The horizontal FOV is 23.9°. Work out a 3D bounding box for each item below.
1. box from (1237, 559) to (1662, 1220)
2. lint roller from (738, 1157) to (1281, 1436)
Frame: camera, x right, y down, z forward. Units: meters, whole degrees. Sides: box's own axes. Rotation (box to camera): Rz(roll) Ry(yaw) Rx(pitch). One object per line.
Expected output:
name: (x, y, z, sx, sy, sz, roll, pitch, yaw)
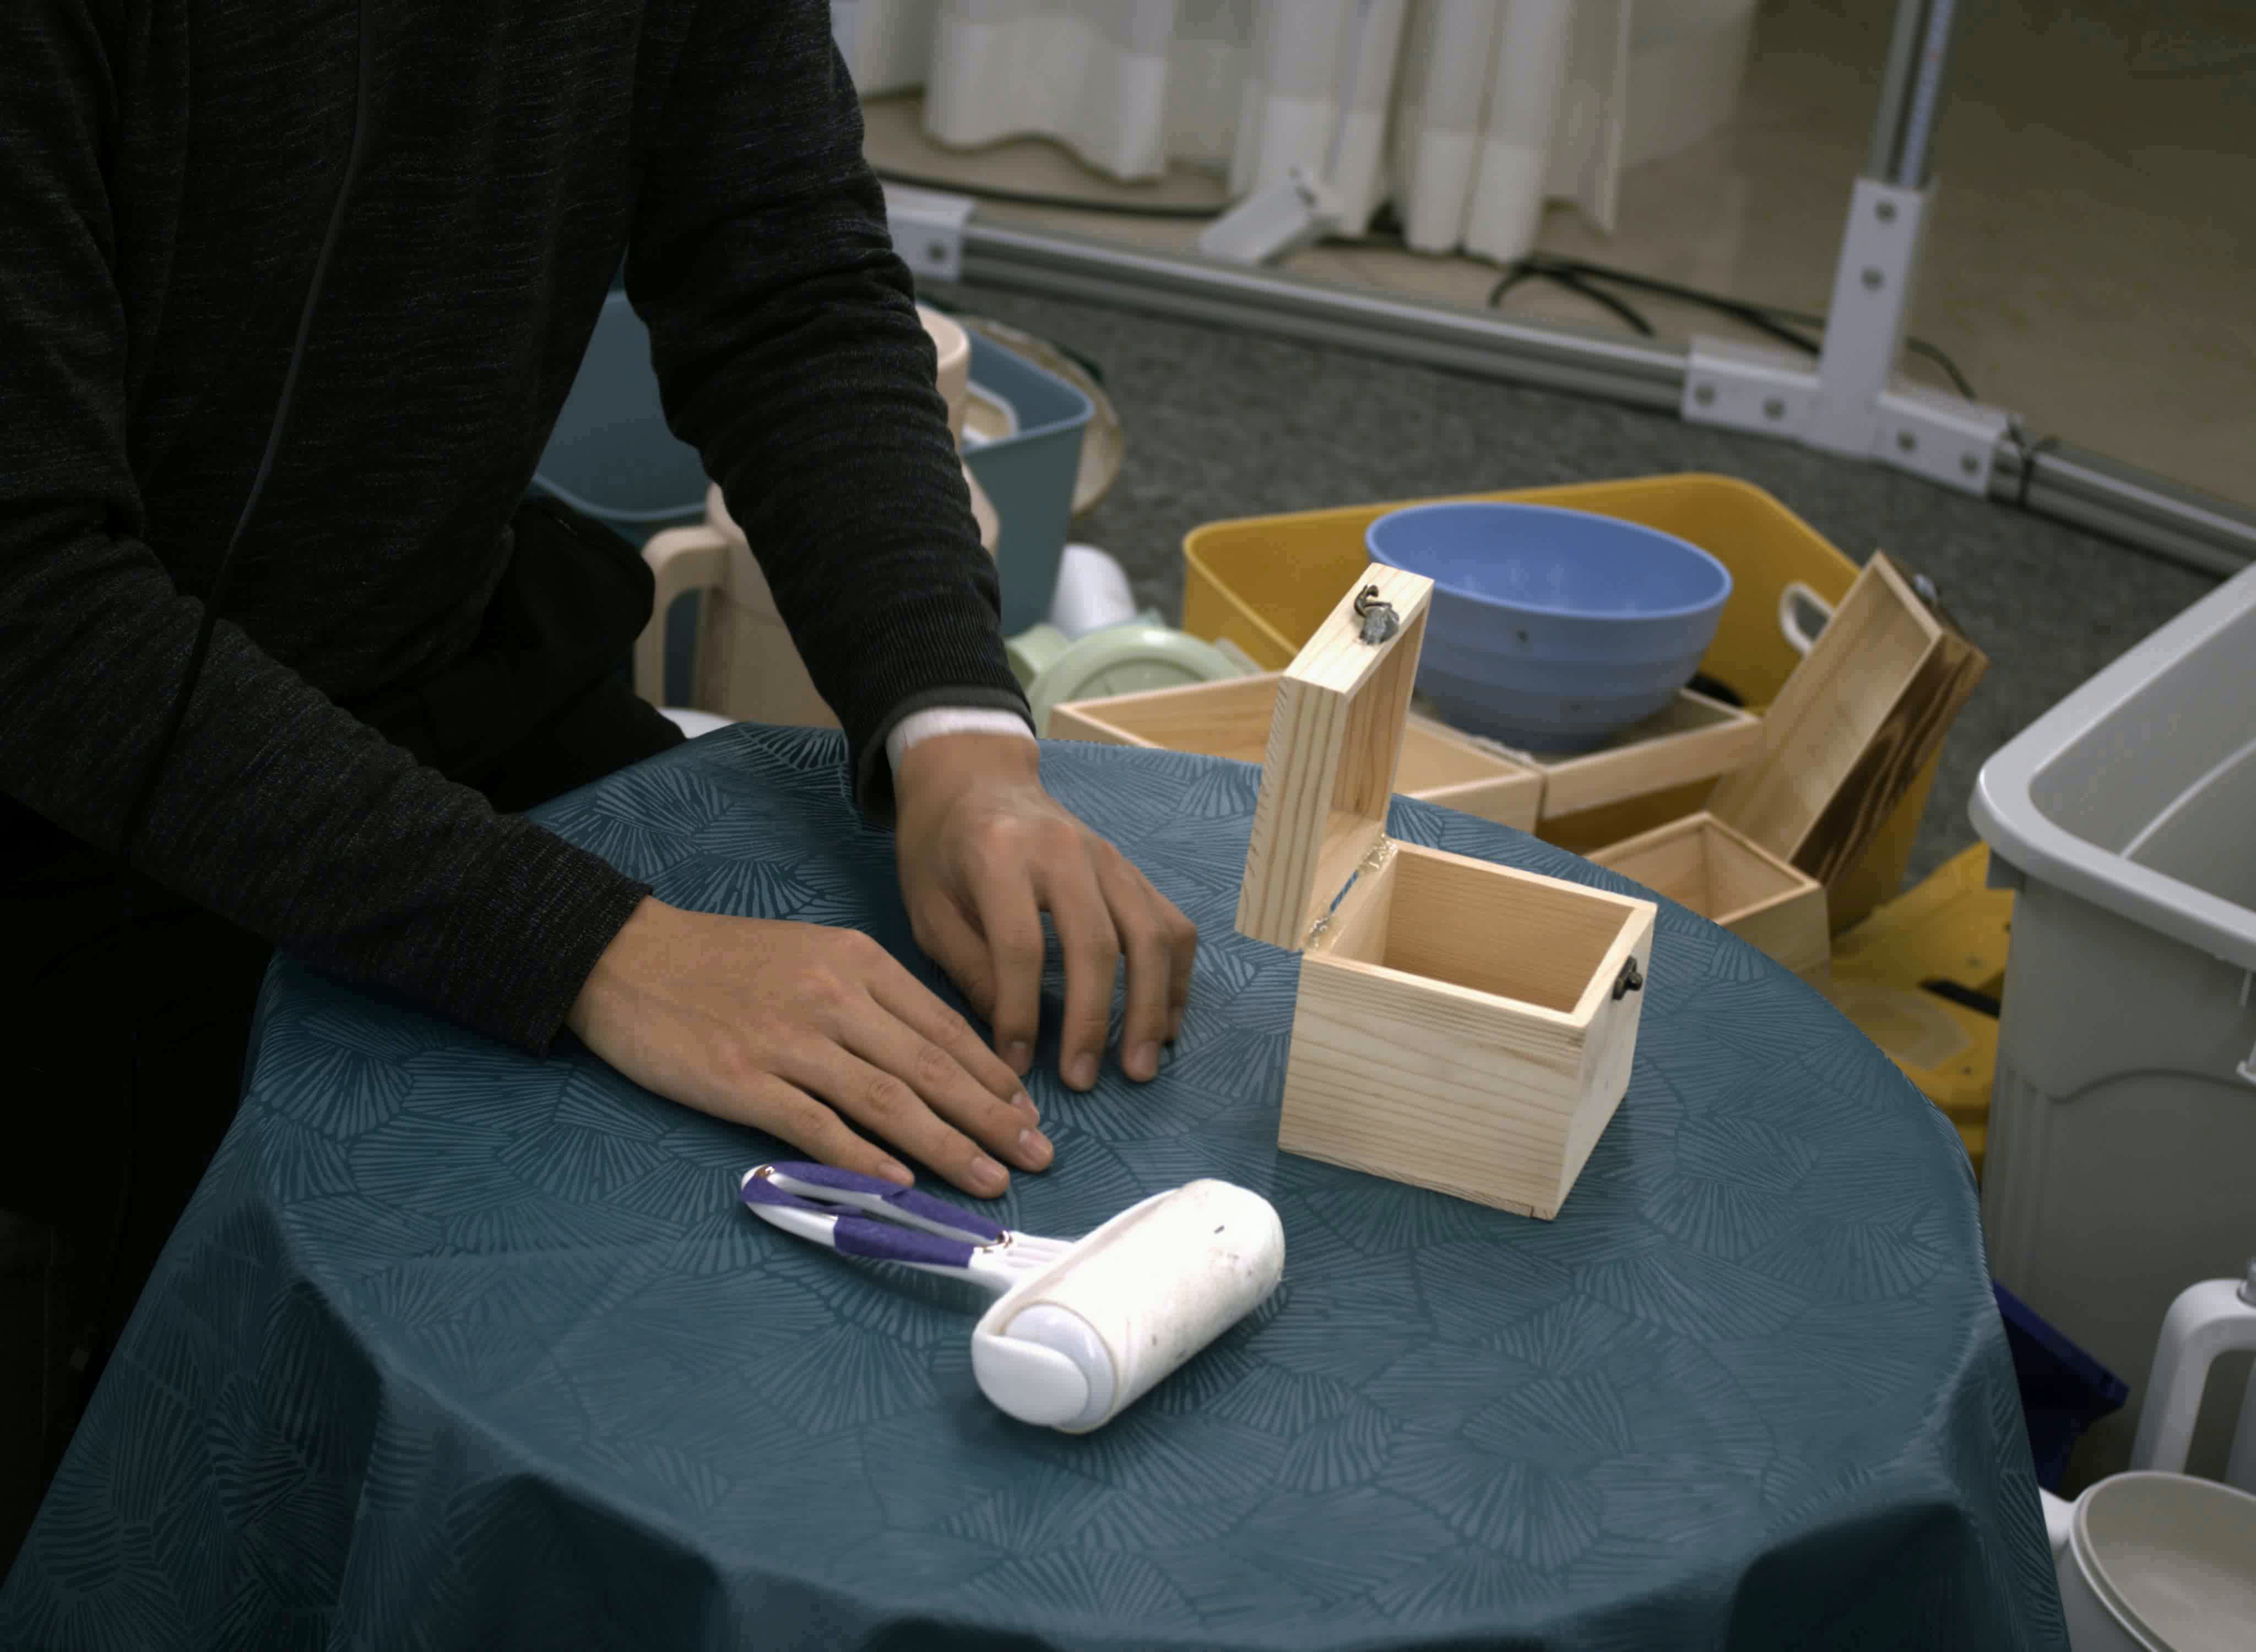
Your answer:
box: (0.116, 0.020, 1.828, 0.134, 0.184, 0.102, 14, 27, 15)
lint roller: (-0.049, 0.130, 1.726, 0.182, 0.050, 0.132, 24, 33, 27)
